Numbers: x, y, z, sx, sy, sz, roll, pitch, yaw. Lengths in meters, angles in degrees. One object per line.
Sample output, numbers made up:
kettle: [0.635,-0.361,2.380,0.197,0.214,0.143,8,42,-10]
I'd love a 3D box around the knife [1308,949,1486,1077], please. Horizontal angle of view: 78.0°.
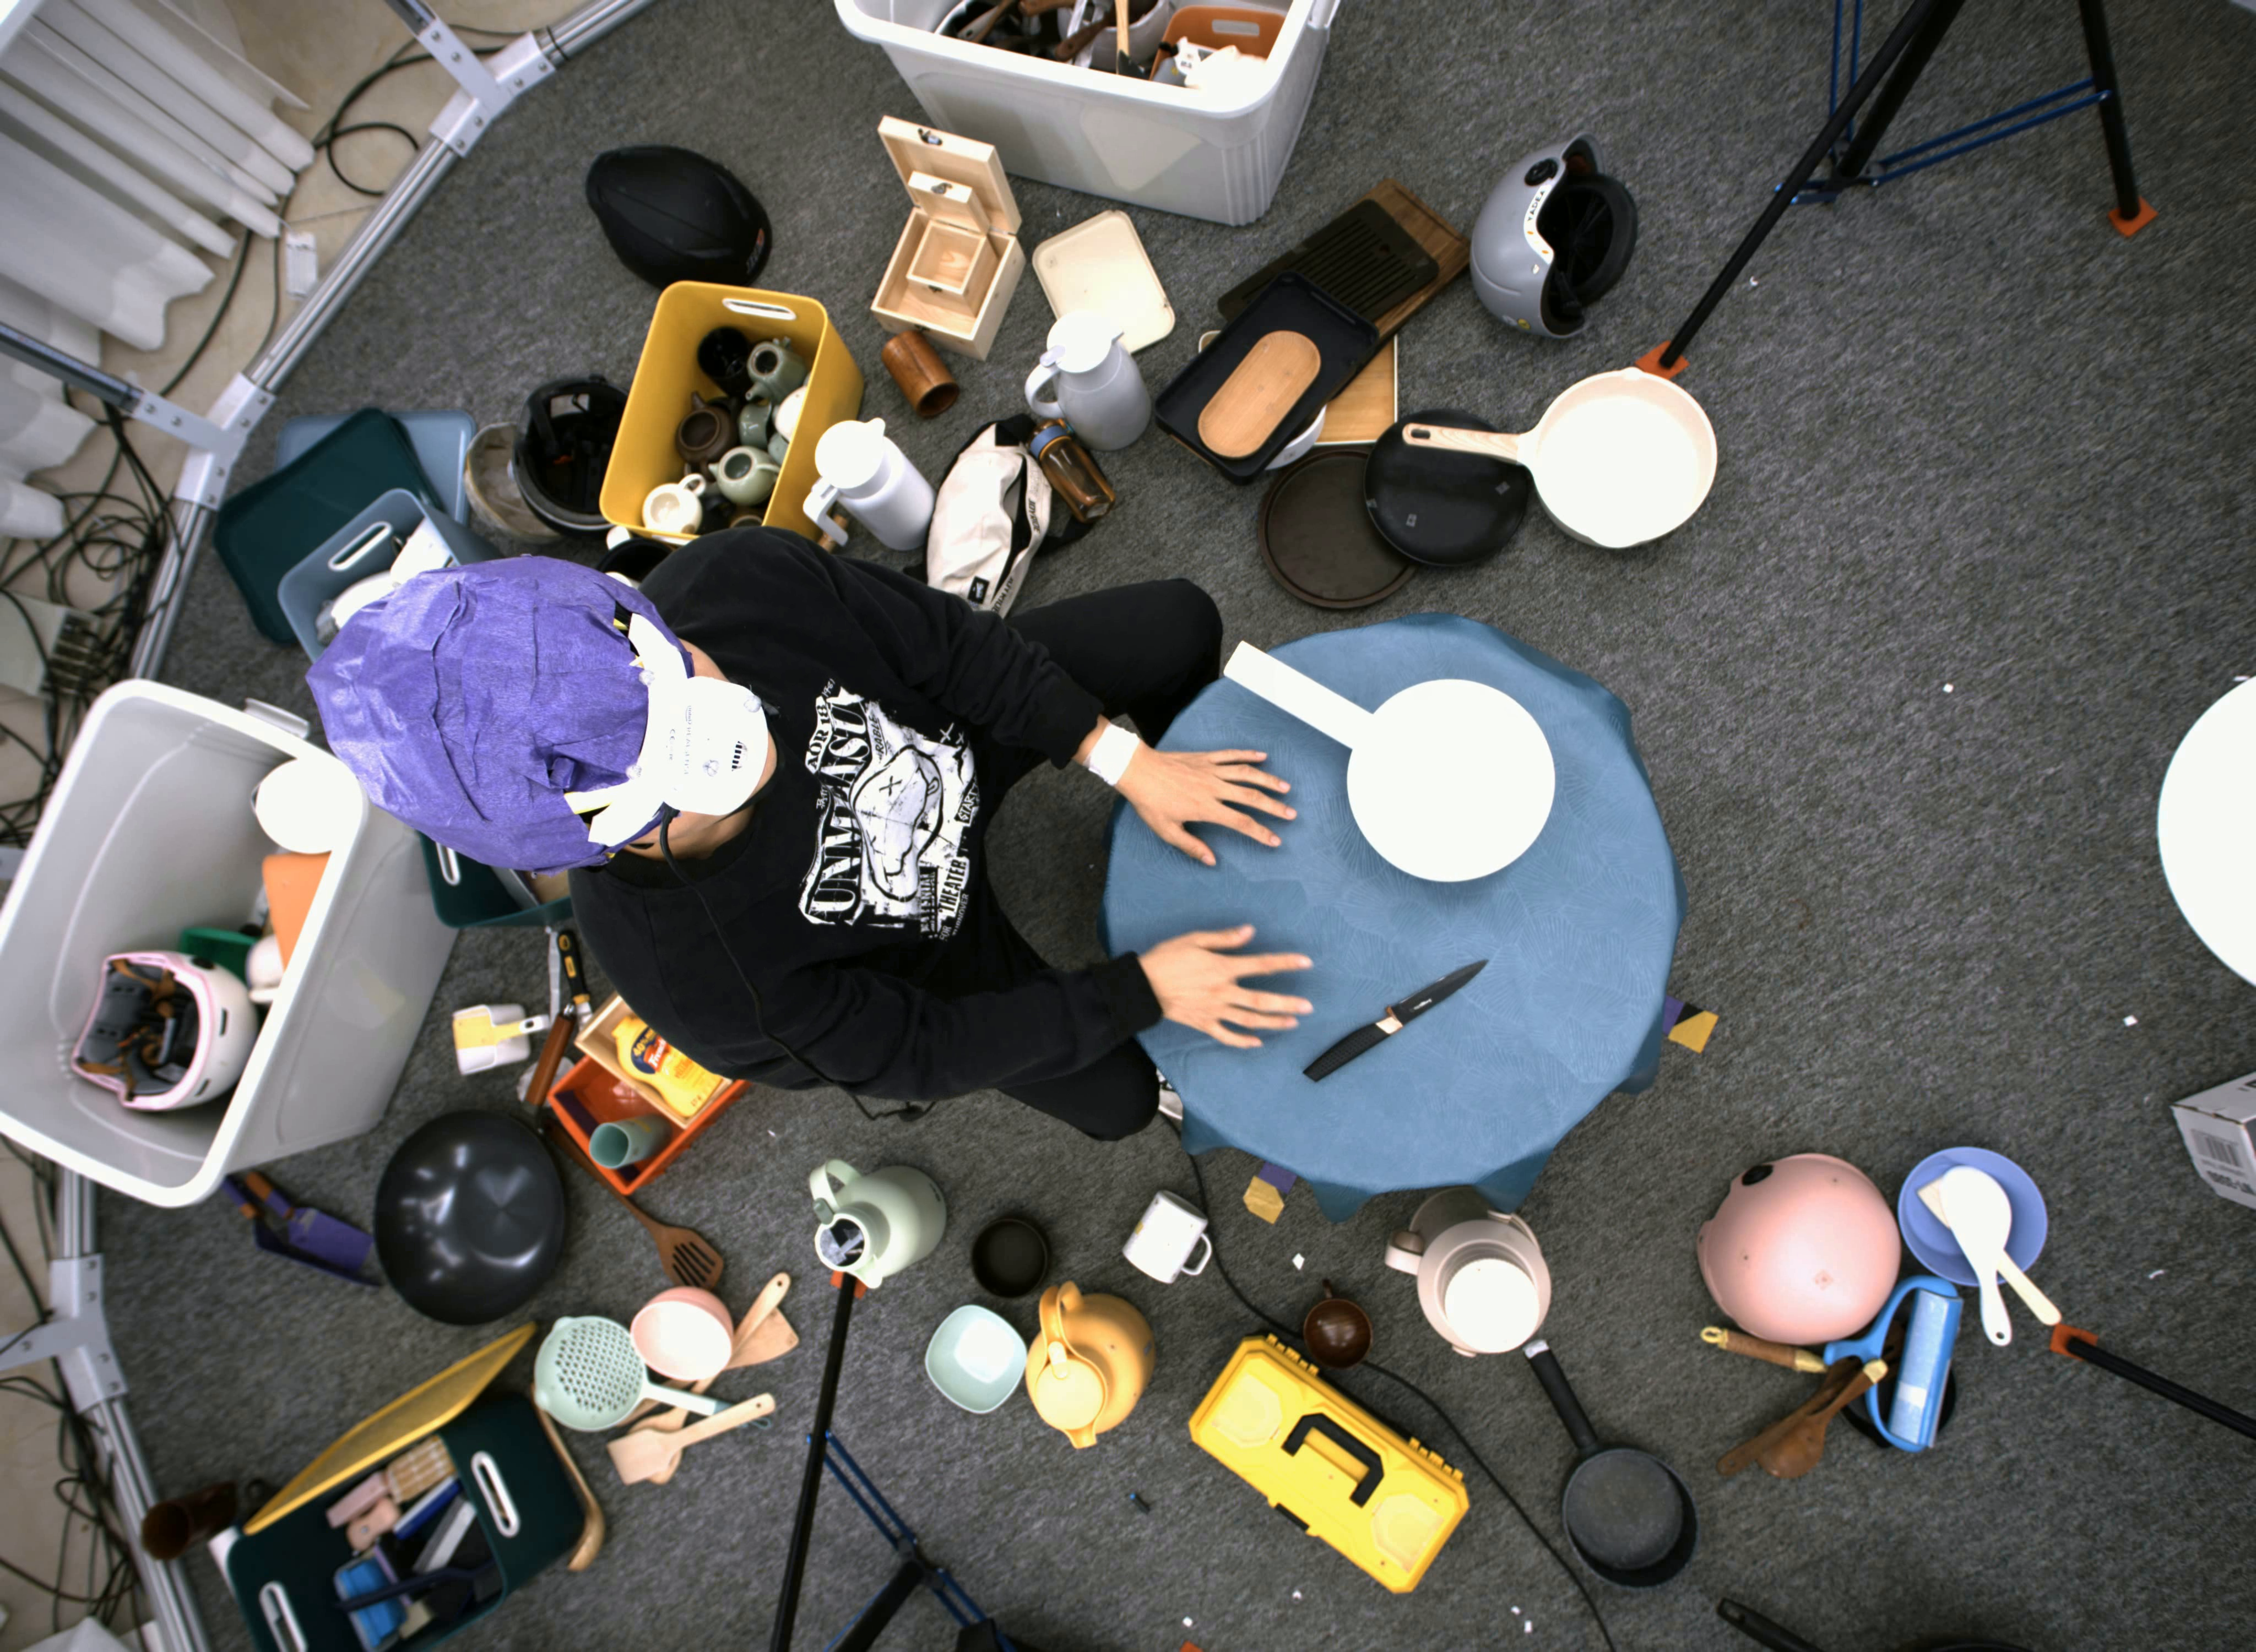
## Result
knife: [0.283,0.195,1.448,0.227,0.017,0.026,-34,70,7]

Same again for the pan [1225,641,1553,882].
pan: [0.263,-0.082,1.423,0.354,0.102,0.202,31,95,12]
